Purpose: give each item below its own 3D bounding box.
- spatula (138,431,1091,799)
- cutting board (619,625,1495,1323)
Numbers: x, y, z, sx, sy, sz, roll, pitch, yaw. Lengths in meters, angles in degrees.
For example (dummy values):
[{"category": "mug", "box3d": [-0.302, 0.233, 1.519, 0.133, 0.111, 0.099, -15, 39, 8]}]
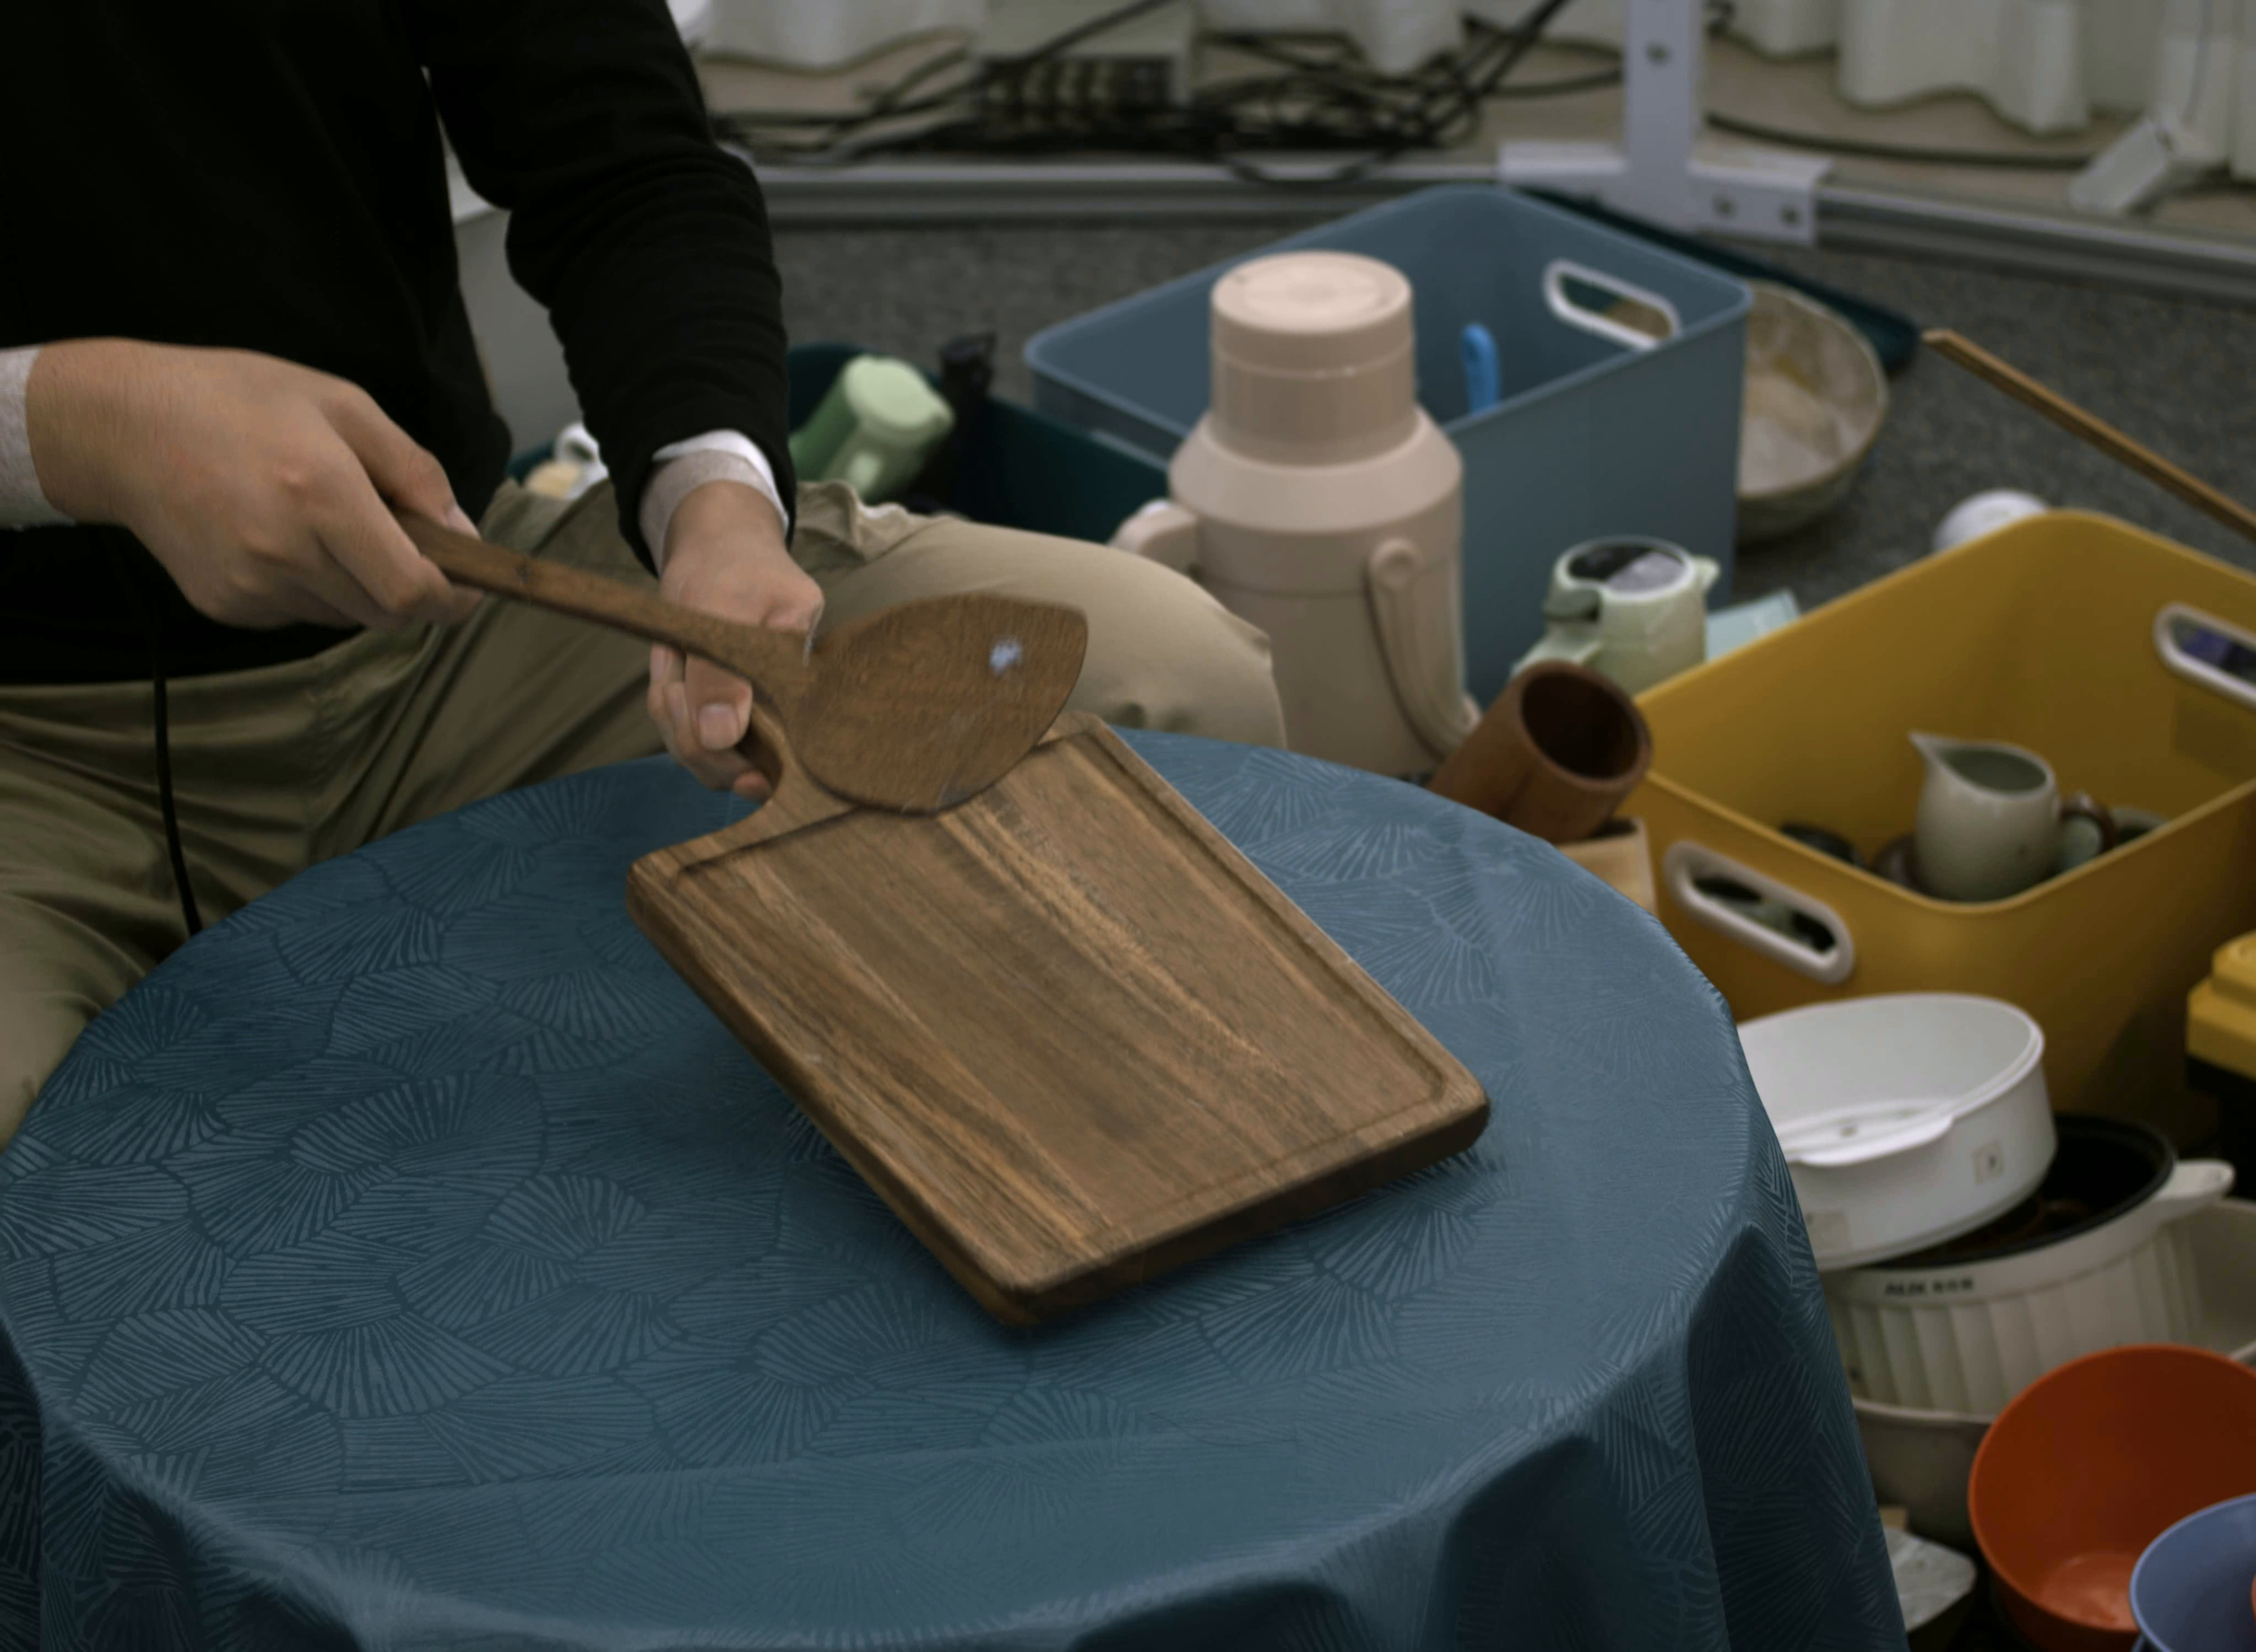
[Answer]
[{"category": "spatula", "box3d": [-0.184, -0.082, 1.878, 0.384, 0.015, 0.098, 16, 54, 29]}, {"category": "cutting board", "box3d": [-0.054, 0.030, 1.925, 0.202, 0.023, 0.354, -19, 43, -30]}]
